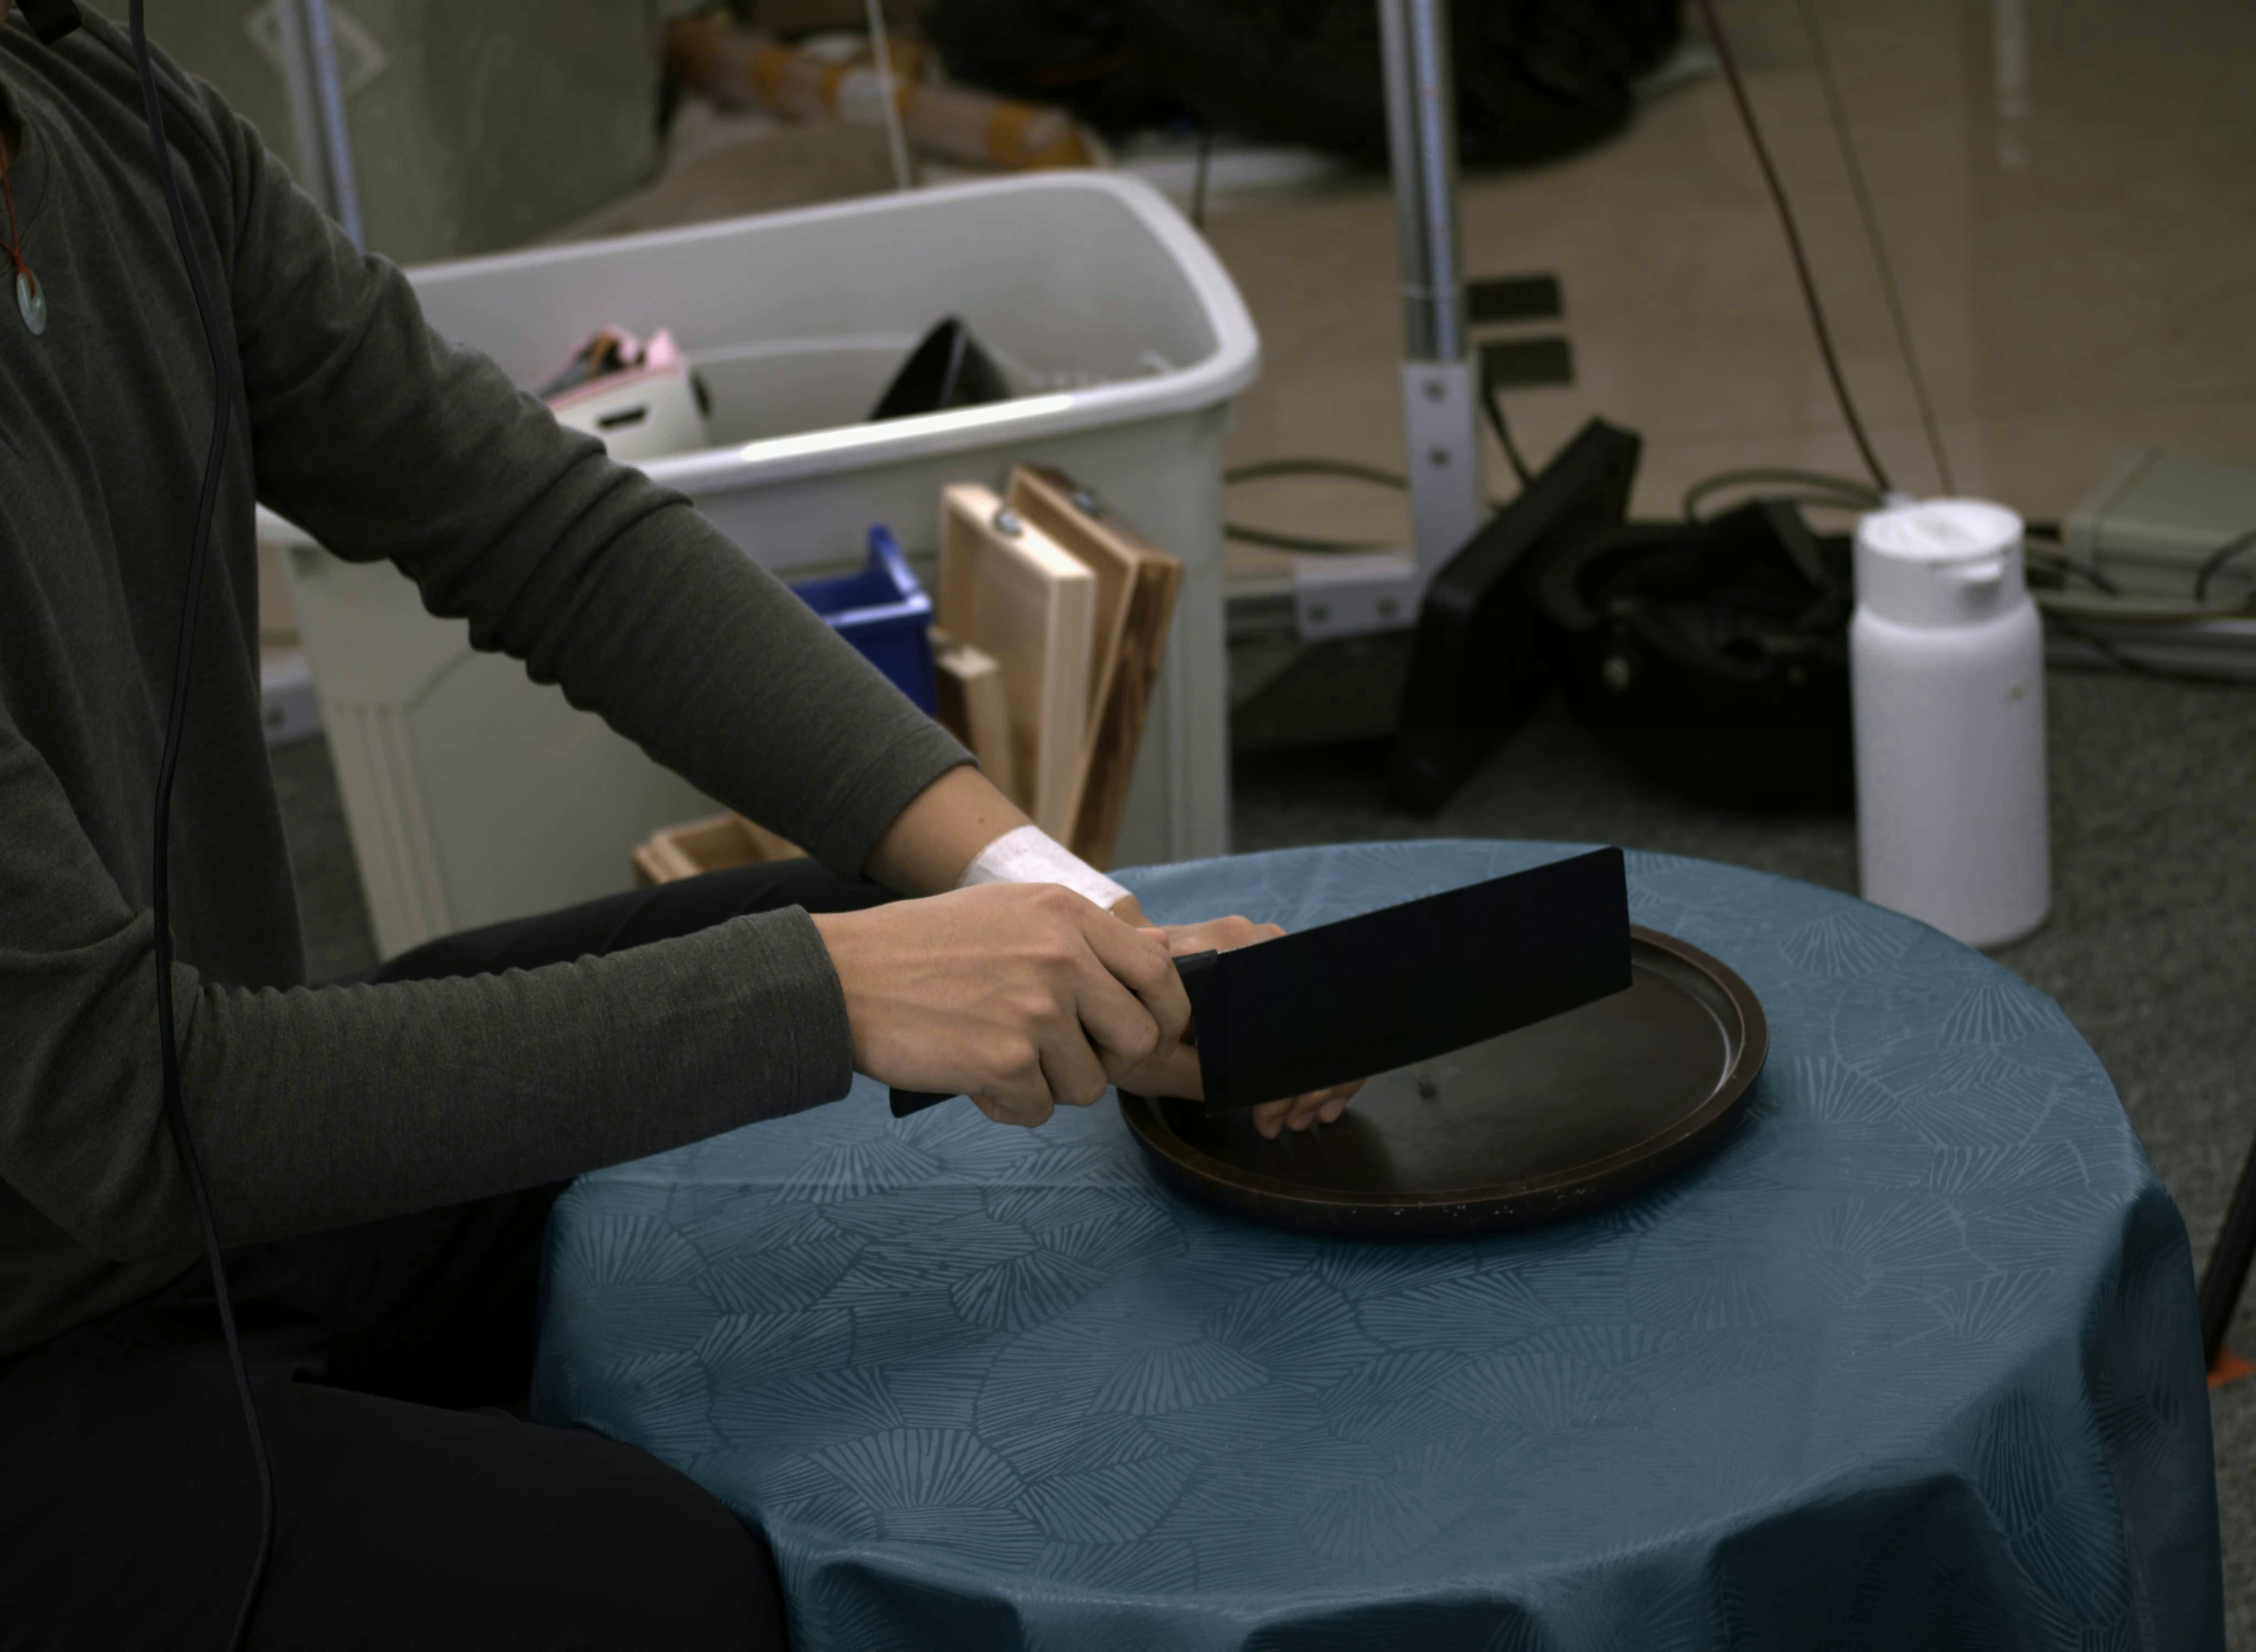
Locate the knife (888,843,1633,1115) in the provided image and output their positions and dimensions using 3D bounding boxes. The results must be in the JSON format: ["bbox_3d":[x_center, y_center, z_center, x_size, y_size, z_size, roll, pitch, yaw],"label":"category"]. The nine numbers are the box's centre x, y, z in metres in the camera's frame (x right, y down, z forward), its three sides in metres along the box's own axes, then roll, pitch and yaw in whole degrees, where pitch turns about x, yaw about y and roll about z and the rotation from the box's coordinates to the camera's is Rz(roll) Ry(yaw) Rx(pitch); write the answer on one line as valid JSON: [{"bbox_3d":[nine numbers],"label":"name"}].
[{"bbox_3d":[0.053,0.067,2.116,0.301,0.082,0.020,-10,24,-19],"label":"knife"}]

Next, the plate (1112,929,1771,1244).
[{"bbox_3d":[0.120,0.095,2.189,0.254,0.029,0.251,-5,26,3],"label":"plate"}]
